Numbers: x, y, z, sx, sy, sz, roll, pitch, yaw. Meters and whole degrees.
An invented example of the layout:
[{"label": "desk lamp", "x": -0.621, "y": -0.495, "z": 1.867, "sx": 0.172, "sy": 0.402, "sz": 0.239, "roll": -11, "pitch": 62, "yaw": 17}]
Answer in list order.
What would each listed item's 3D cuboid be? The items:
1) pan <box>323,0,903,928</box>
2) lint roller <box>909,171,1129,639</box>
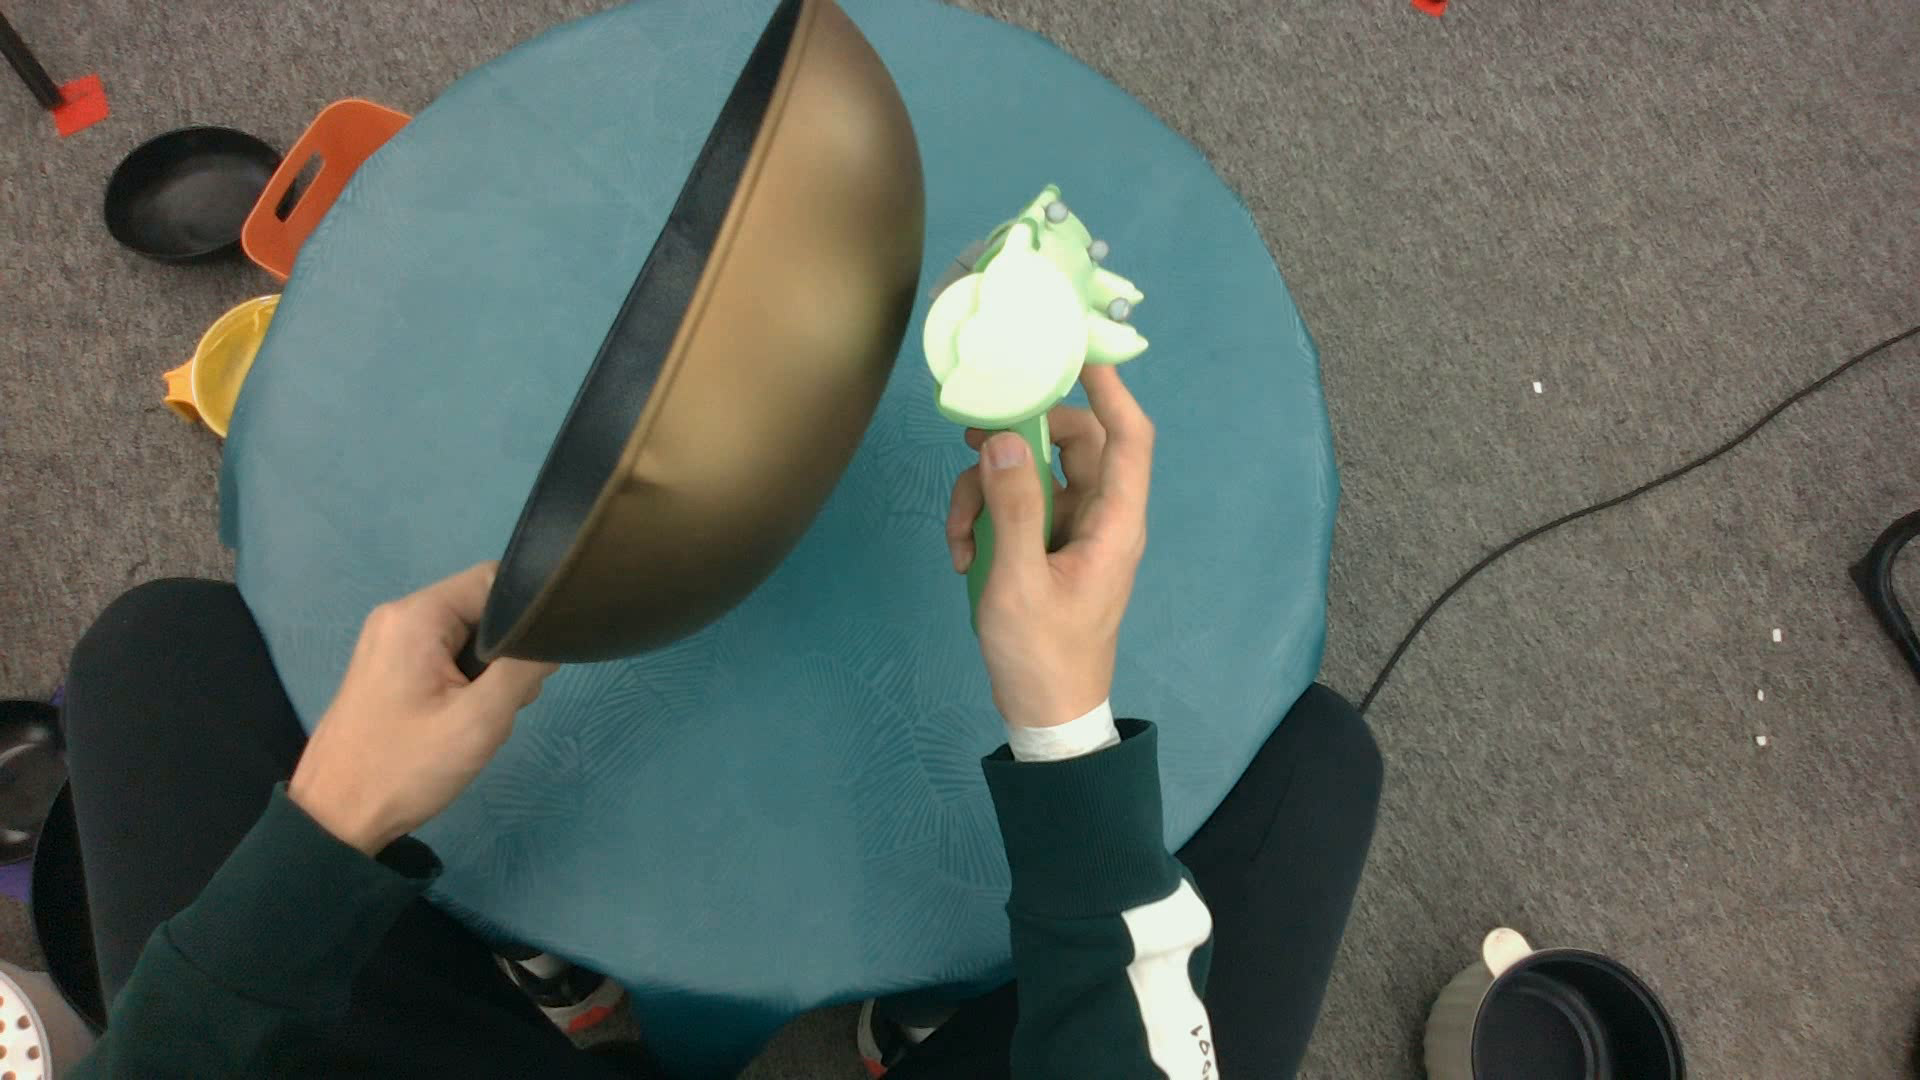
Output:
[{"label": "pan", "x": -0.142, "y": 0.001, "z": 0.558, "sx": 0.087, "sy": 0.289, "sz": 0.462, "roll": 25, "pitch": 110, "yaw": -20}, {"label": "lint roller", "x": 0.030, "y": -0.049, "z": 0.552, "sx": 0.082, "sy": 0.199, "sz": 0.183, "roll": -8, "pitch": 108, "yaw": 7}]
